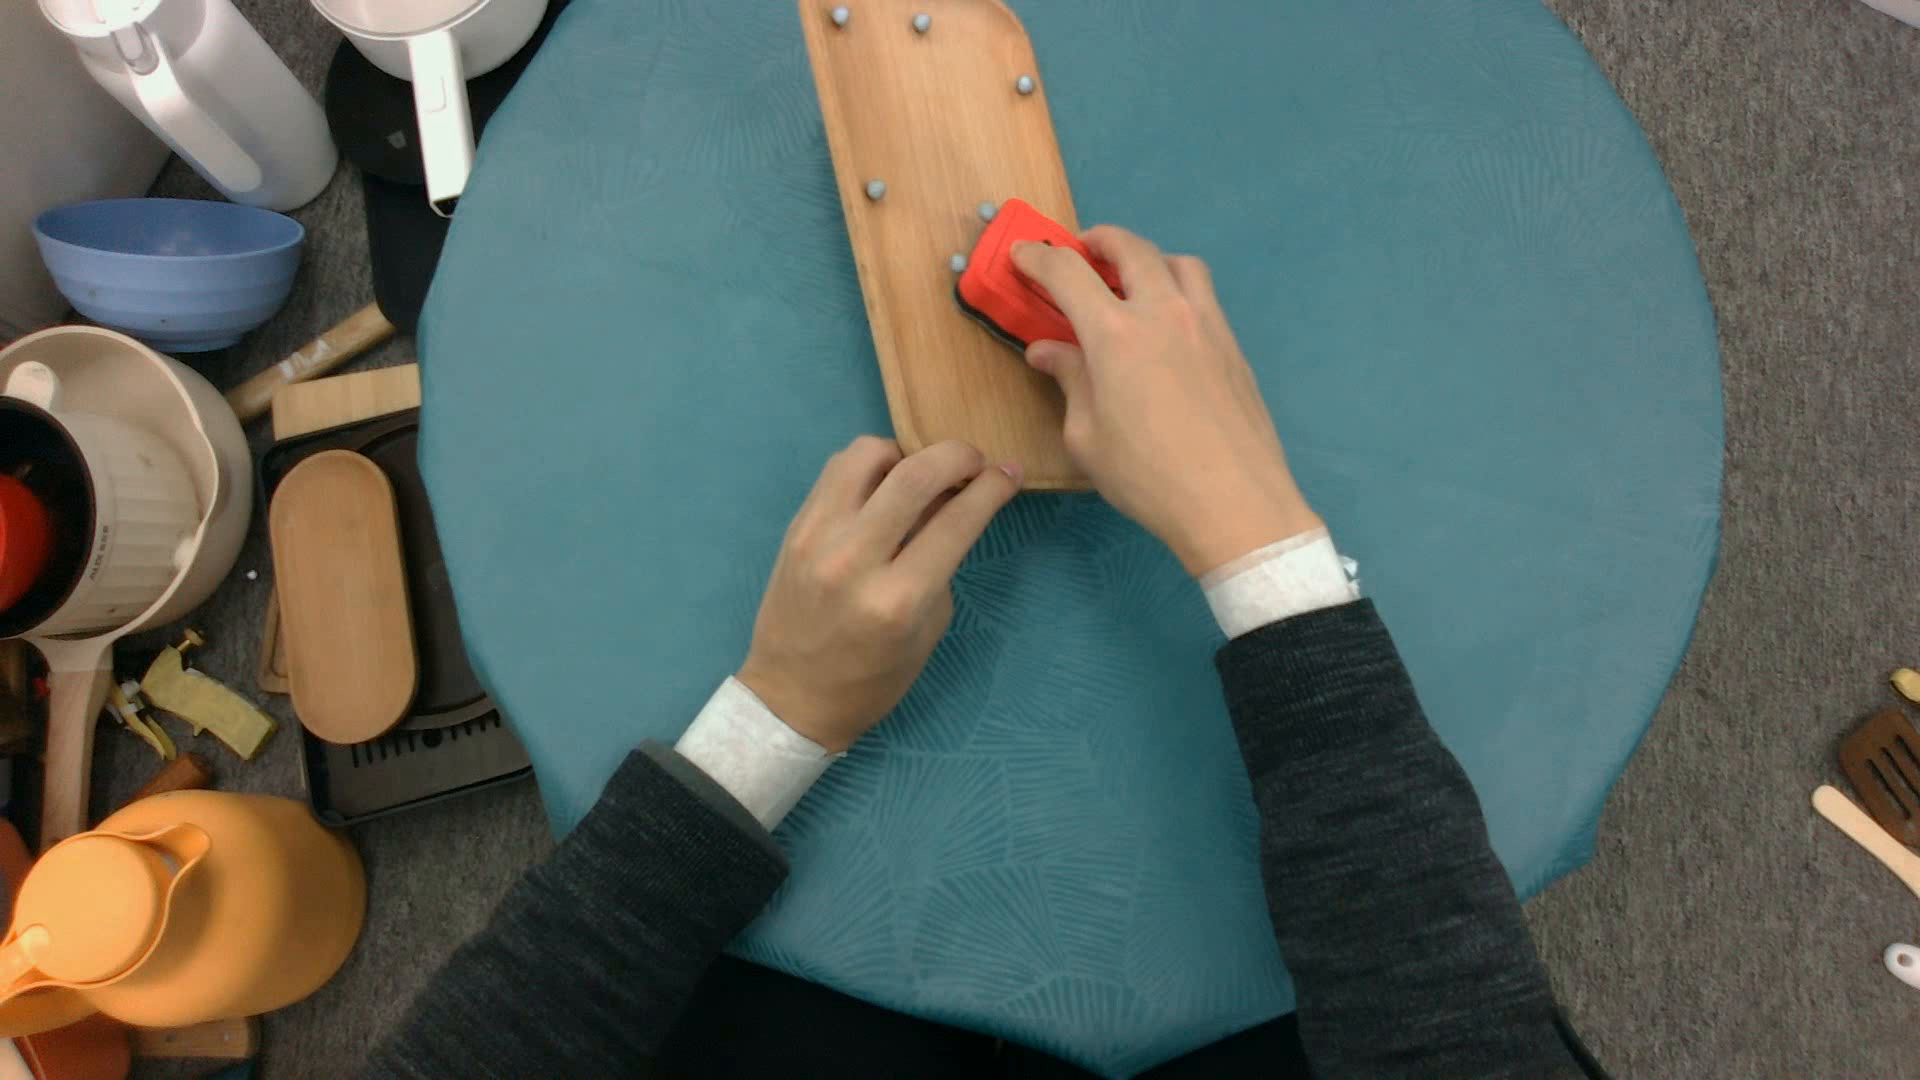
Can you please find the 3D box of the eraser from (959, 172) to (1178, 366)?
[{"bbox_3d":[0.050,-0.120,0.619,0.108,0.023,0.059,17,61,-30],"label":"eraser"}]

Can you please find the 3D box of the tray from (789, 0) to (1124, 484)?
[{"bbox_3d":[-0.002,-0.142,0.609,0.131,0.023,0.251,-2,74,-36],"label":"tray"}]
